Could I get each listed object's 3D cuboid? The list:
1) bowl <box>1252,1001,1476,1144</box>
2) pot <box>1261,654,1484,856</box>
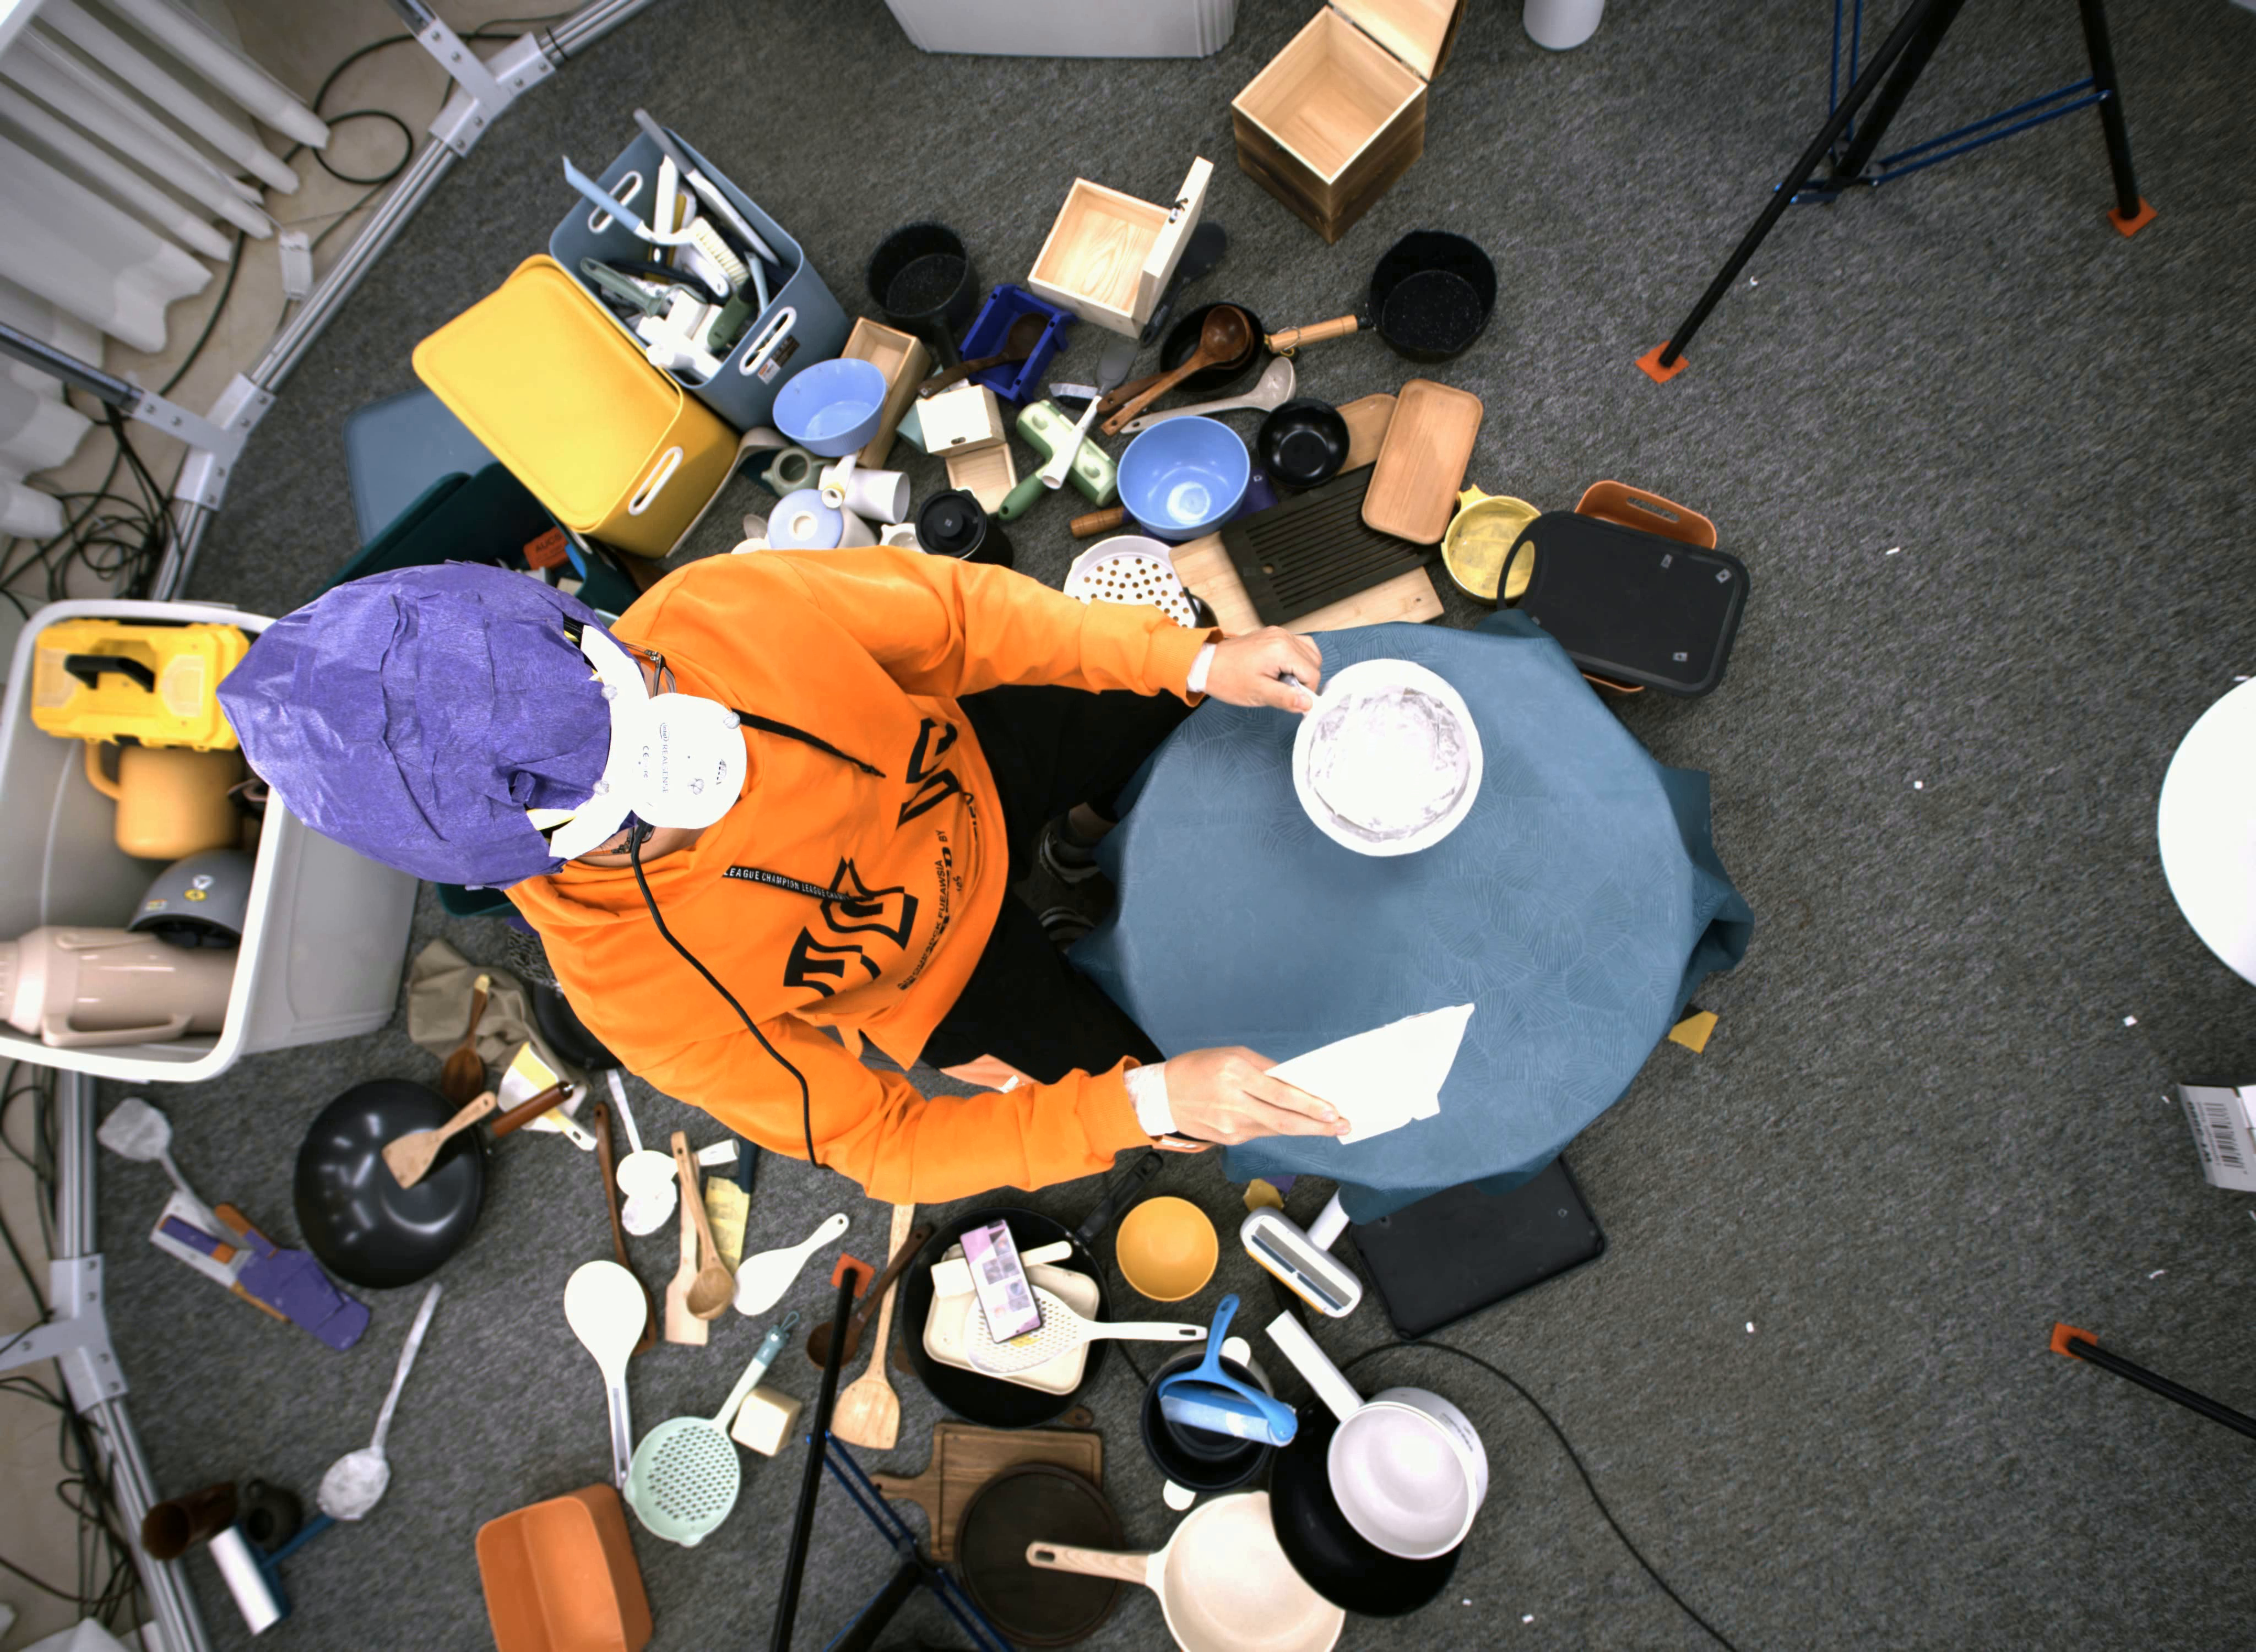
[{"bbox_3d":[0.214,0.219,1.182,0.205,0.205,0.077,-22,75,7],"label":"bowl"},{"bbox_3d":[0.230,-0.088,1.349,0.234,0.134,0.181,33,108,0],"label":"pot"}]
